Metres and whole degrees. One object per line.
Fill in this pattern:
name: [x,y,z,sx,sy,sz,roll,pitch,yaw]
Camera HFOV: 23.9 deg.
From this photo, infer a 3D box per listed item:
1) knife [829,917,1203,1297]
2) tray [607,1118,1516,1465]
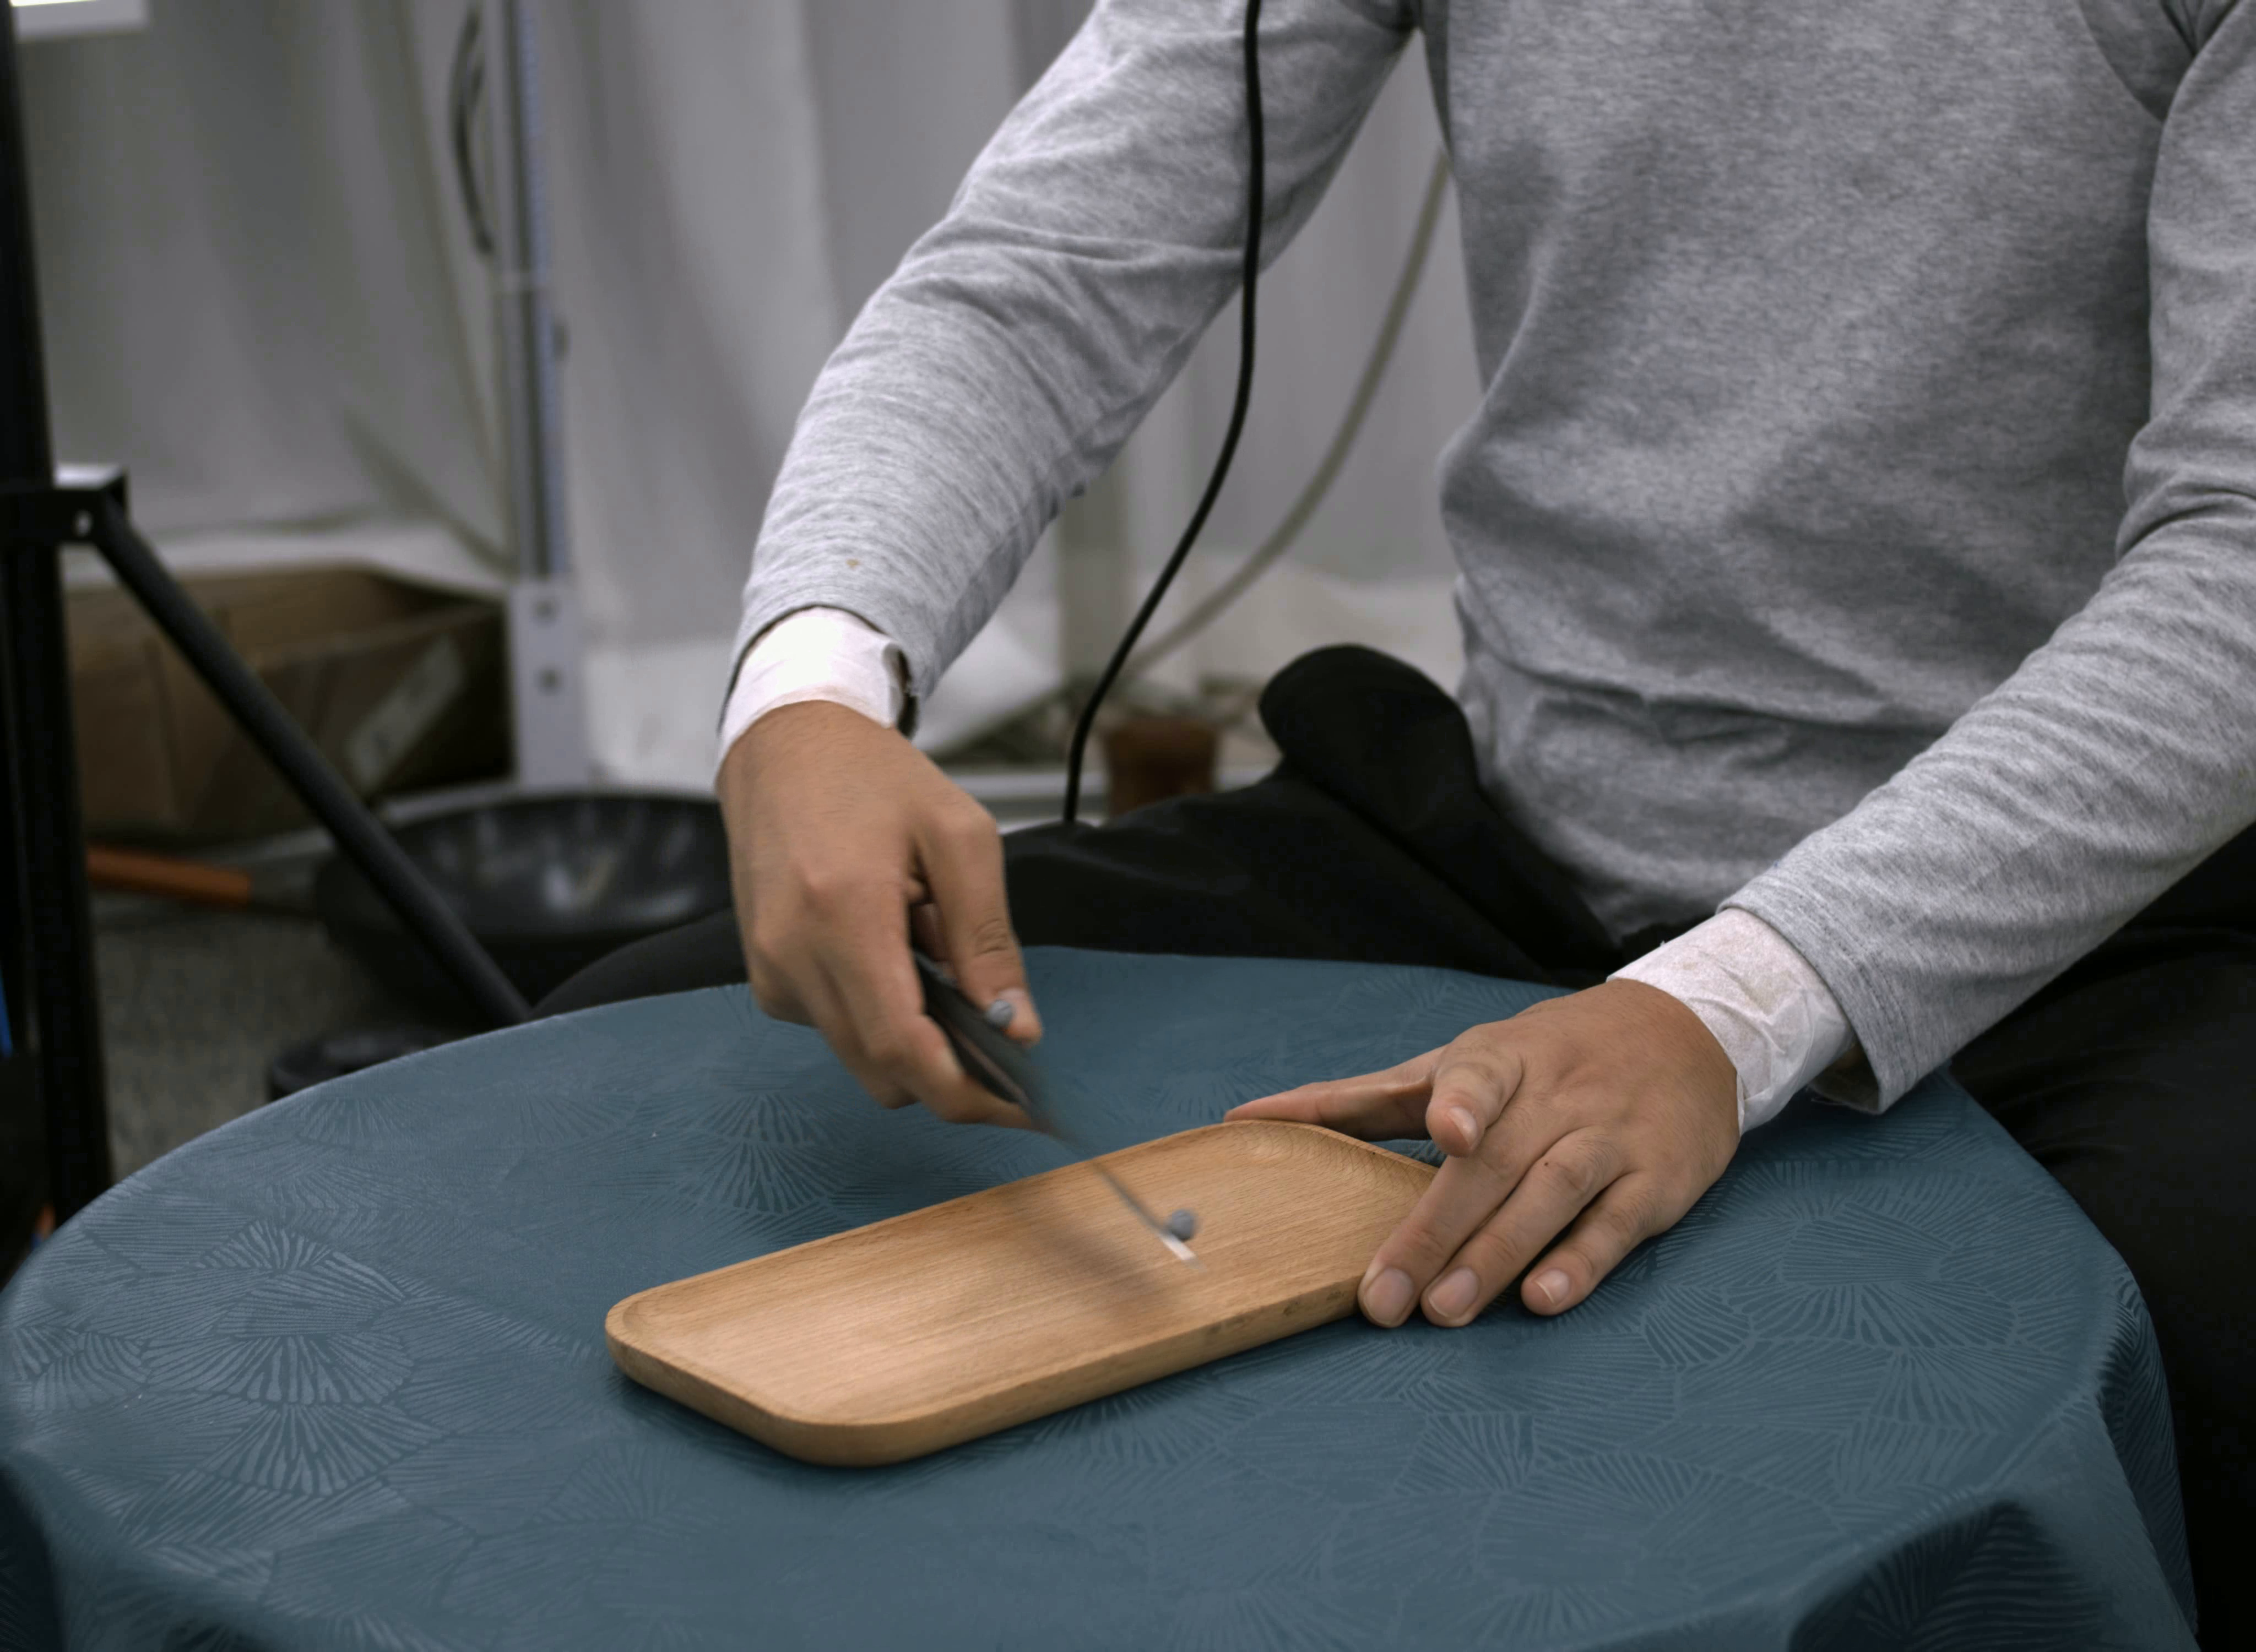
knife: [-0.034,0.078,1.518,0.024,0.016,0.243,34,4,-35]
tray: [-0.015,0.127,1.469,0.245,0.023,0.133,-12,21,-35]
